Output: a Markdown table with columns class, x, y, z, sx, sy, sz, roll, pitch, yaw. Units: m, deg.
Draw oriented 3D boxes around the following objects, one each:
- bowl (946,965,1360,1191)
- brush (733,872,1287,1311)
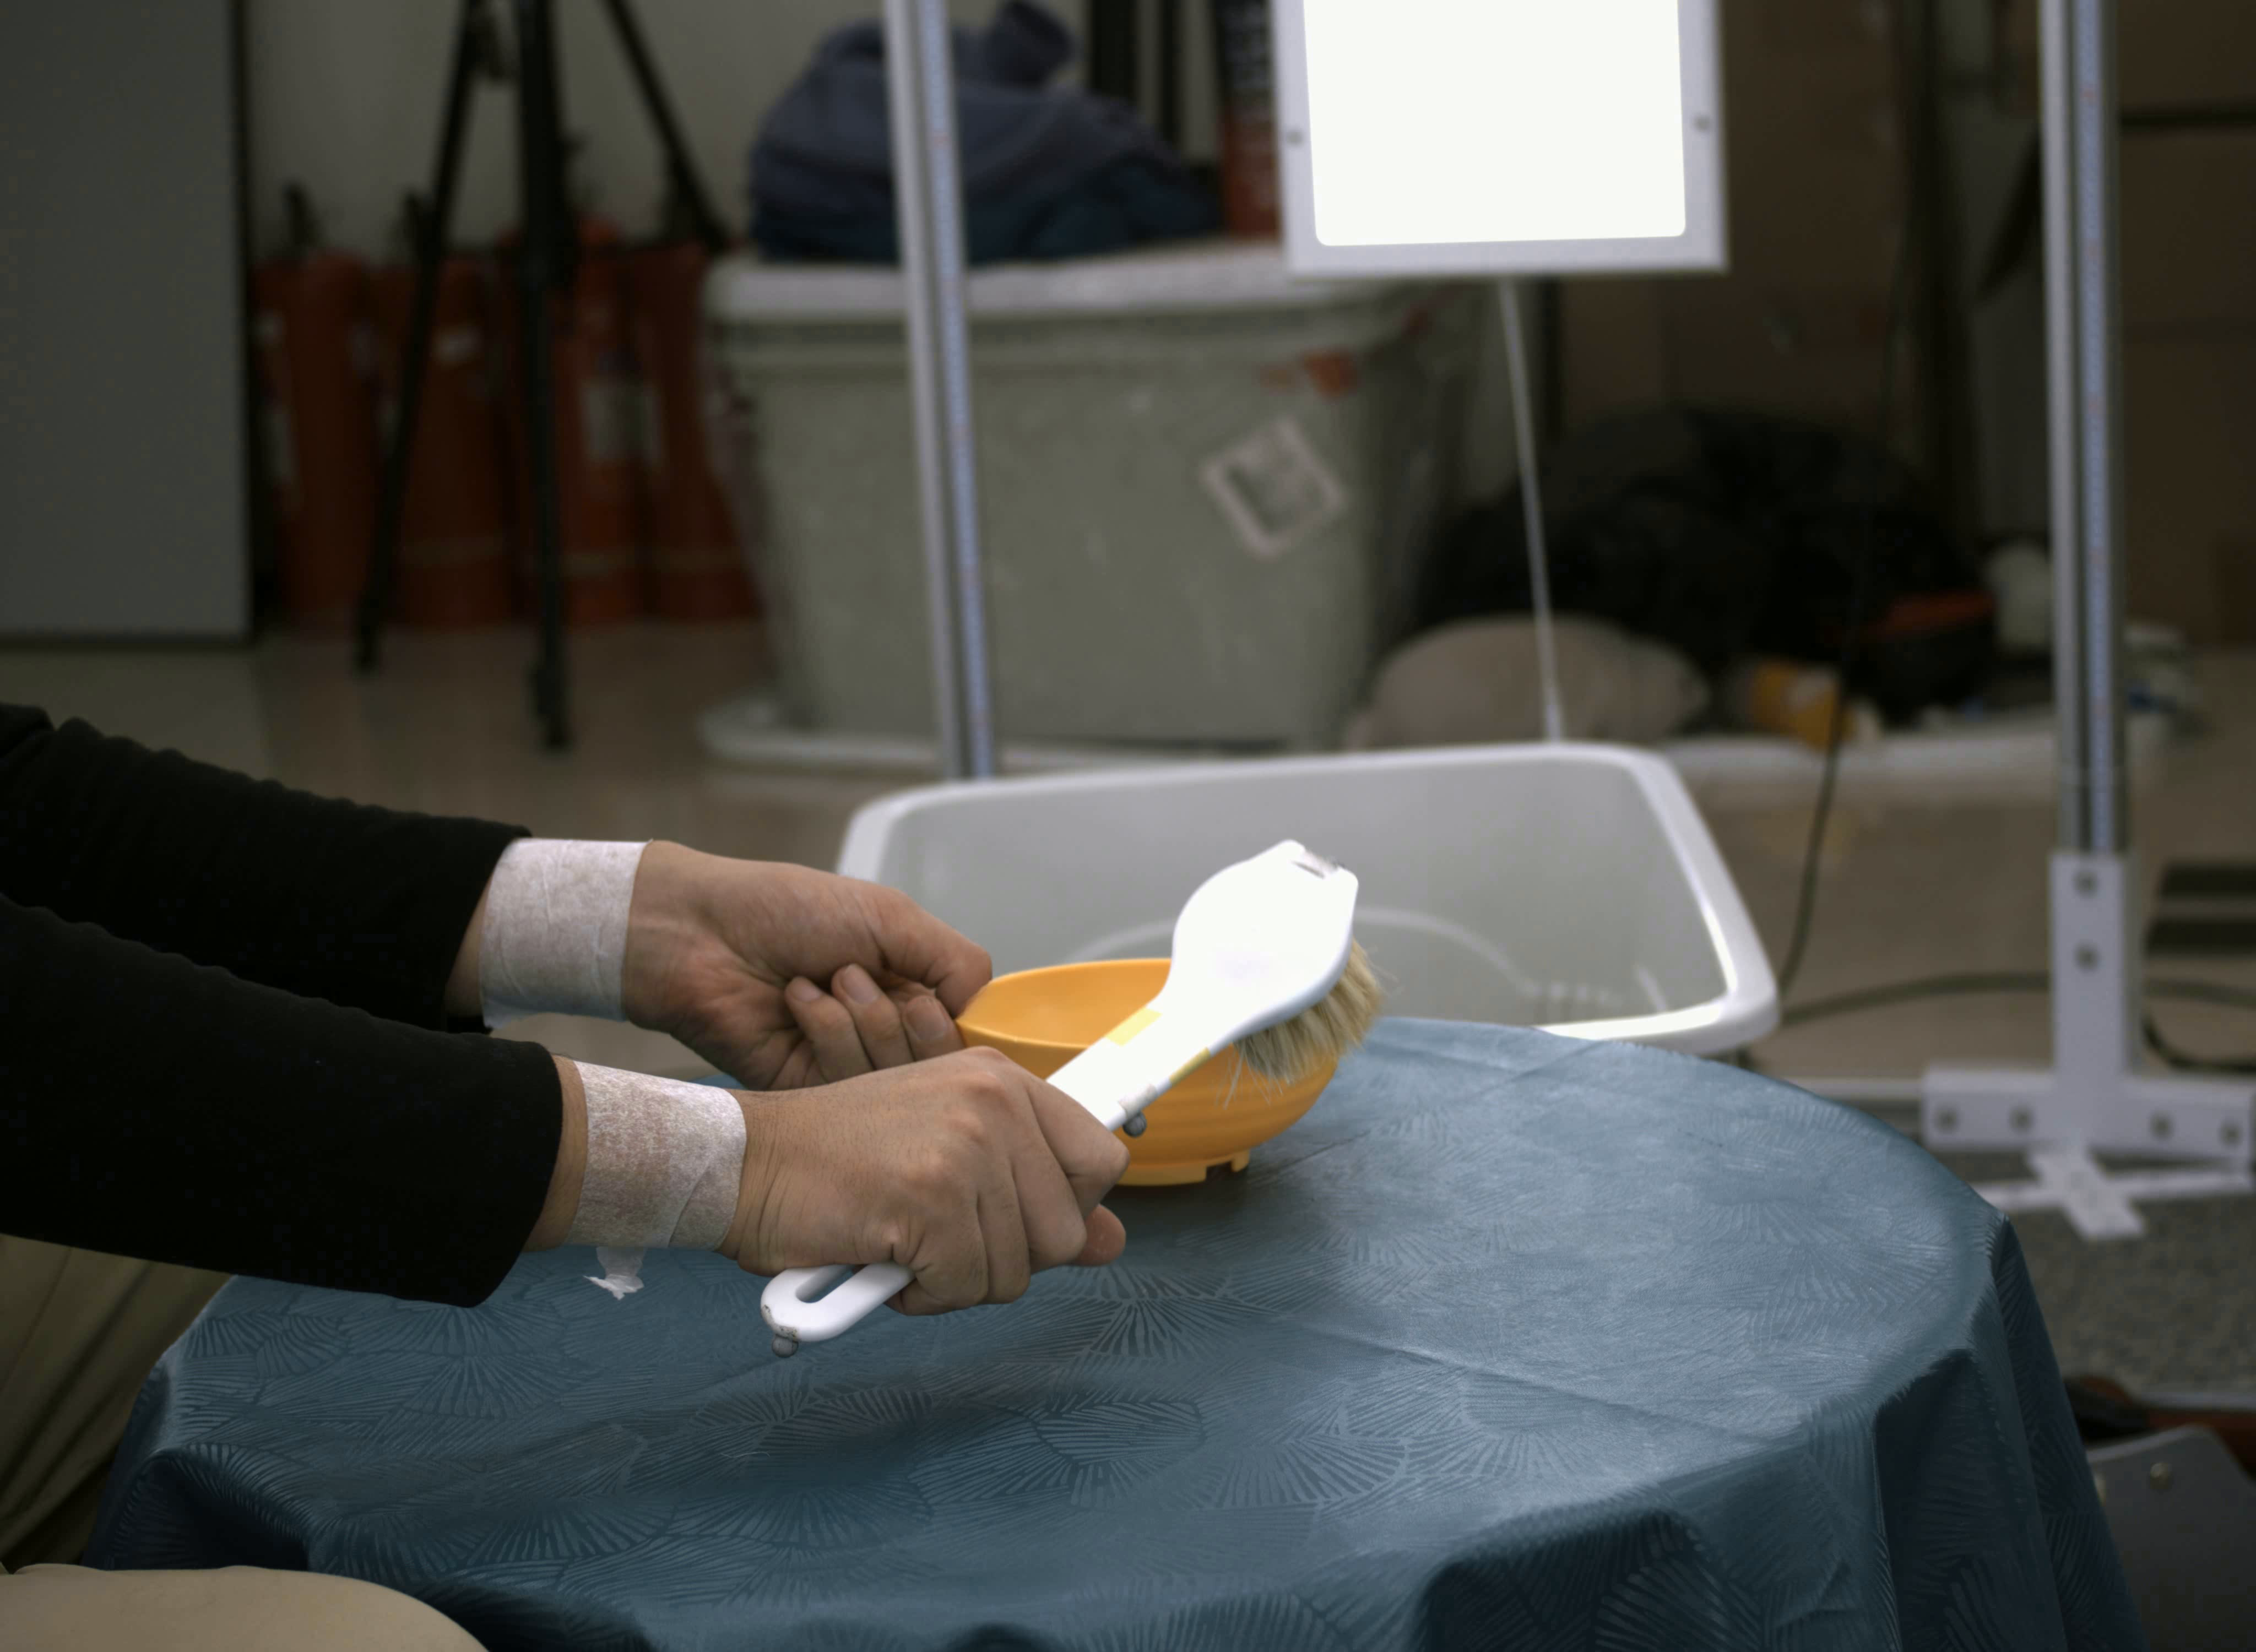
| class | x | y | z | sx | sy | sz | roll | pitch | yaw |
| --- | --- | --- | --- | --- | --- | --- | --- | --- | --- |
| bowl | 0.011 | 0.090 | 1.913 | 0.145 | 0.060 | 0.145 | -4 | 10 | -1 |
| brush | -0.038 | 0.099 | 1.750 | 0.070 | 0.056 | 0.261 | 13 | 37 | 33 |
